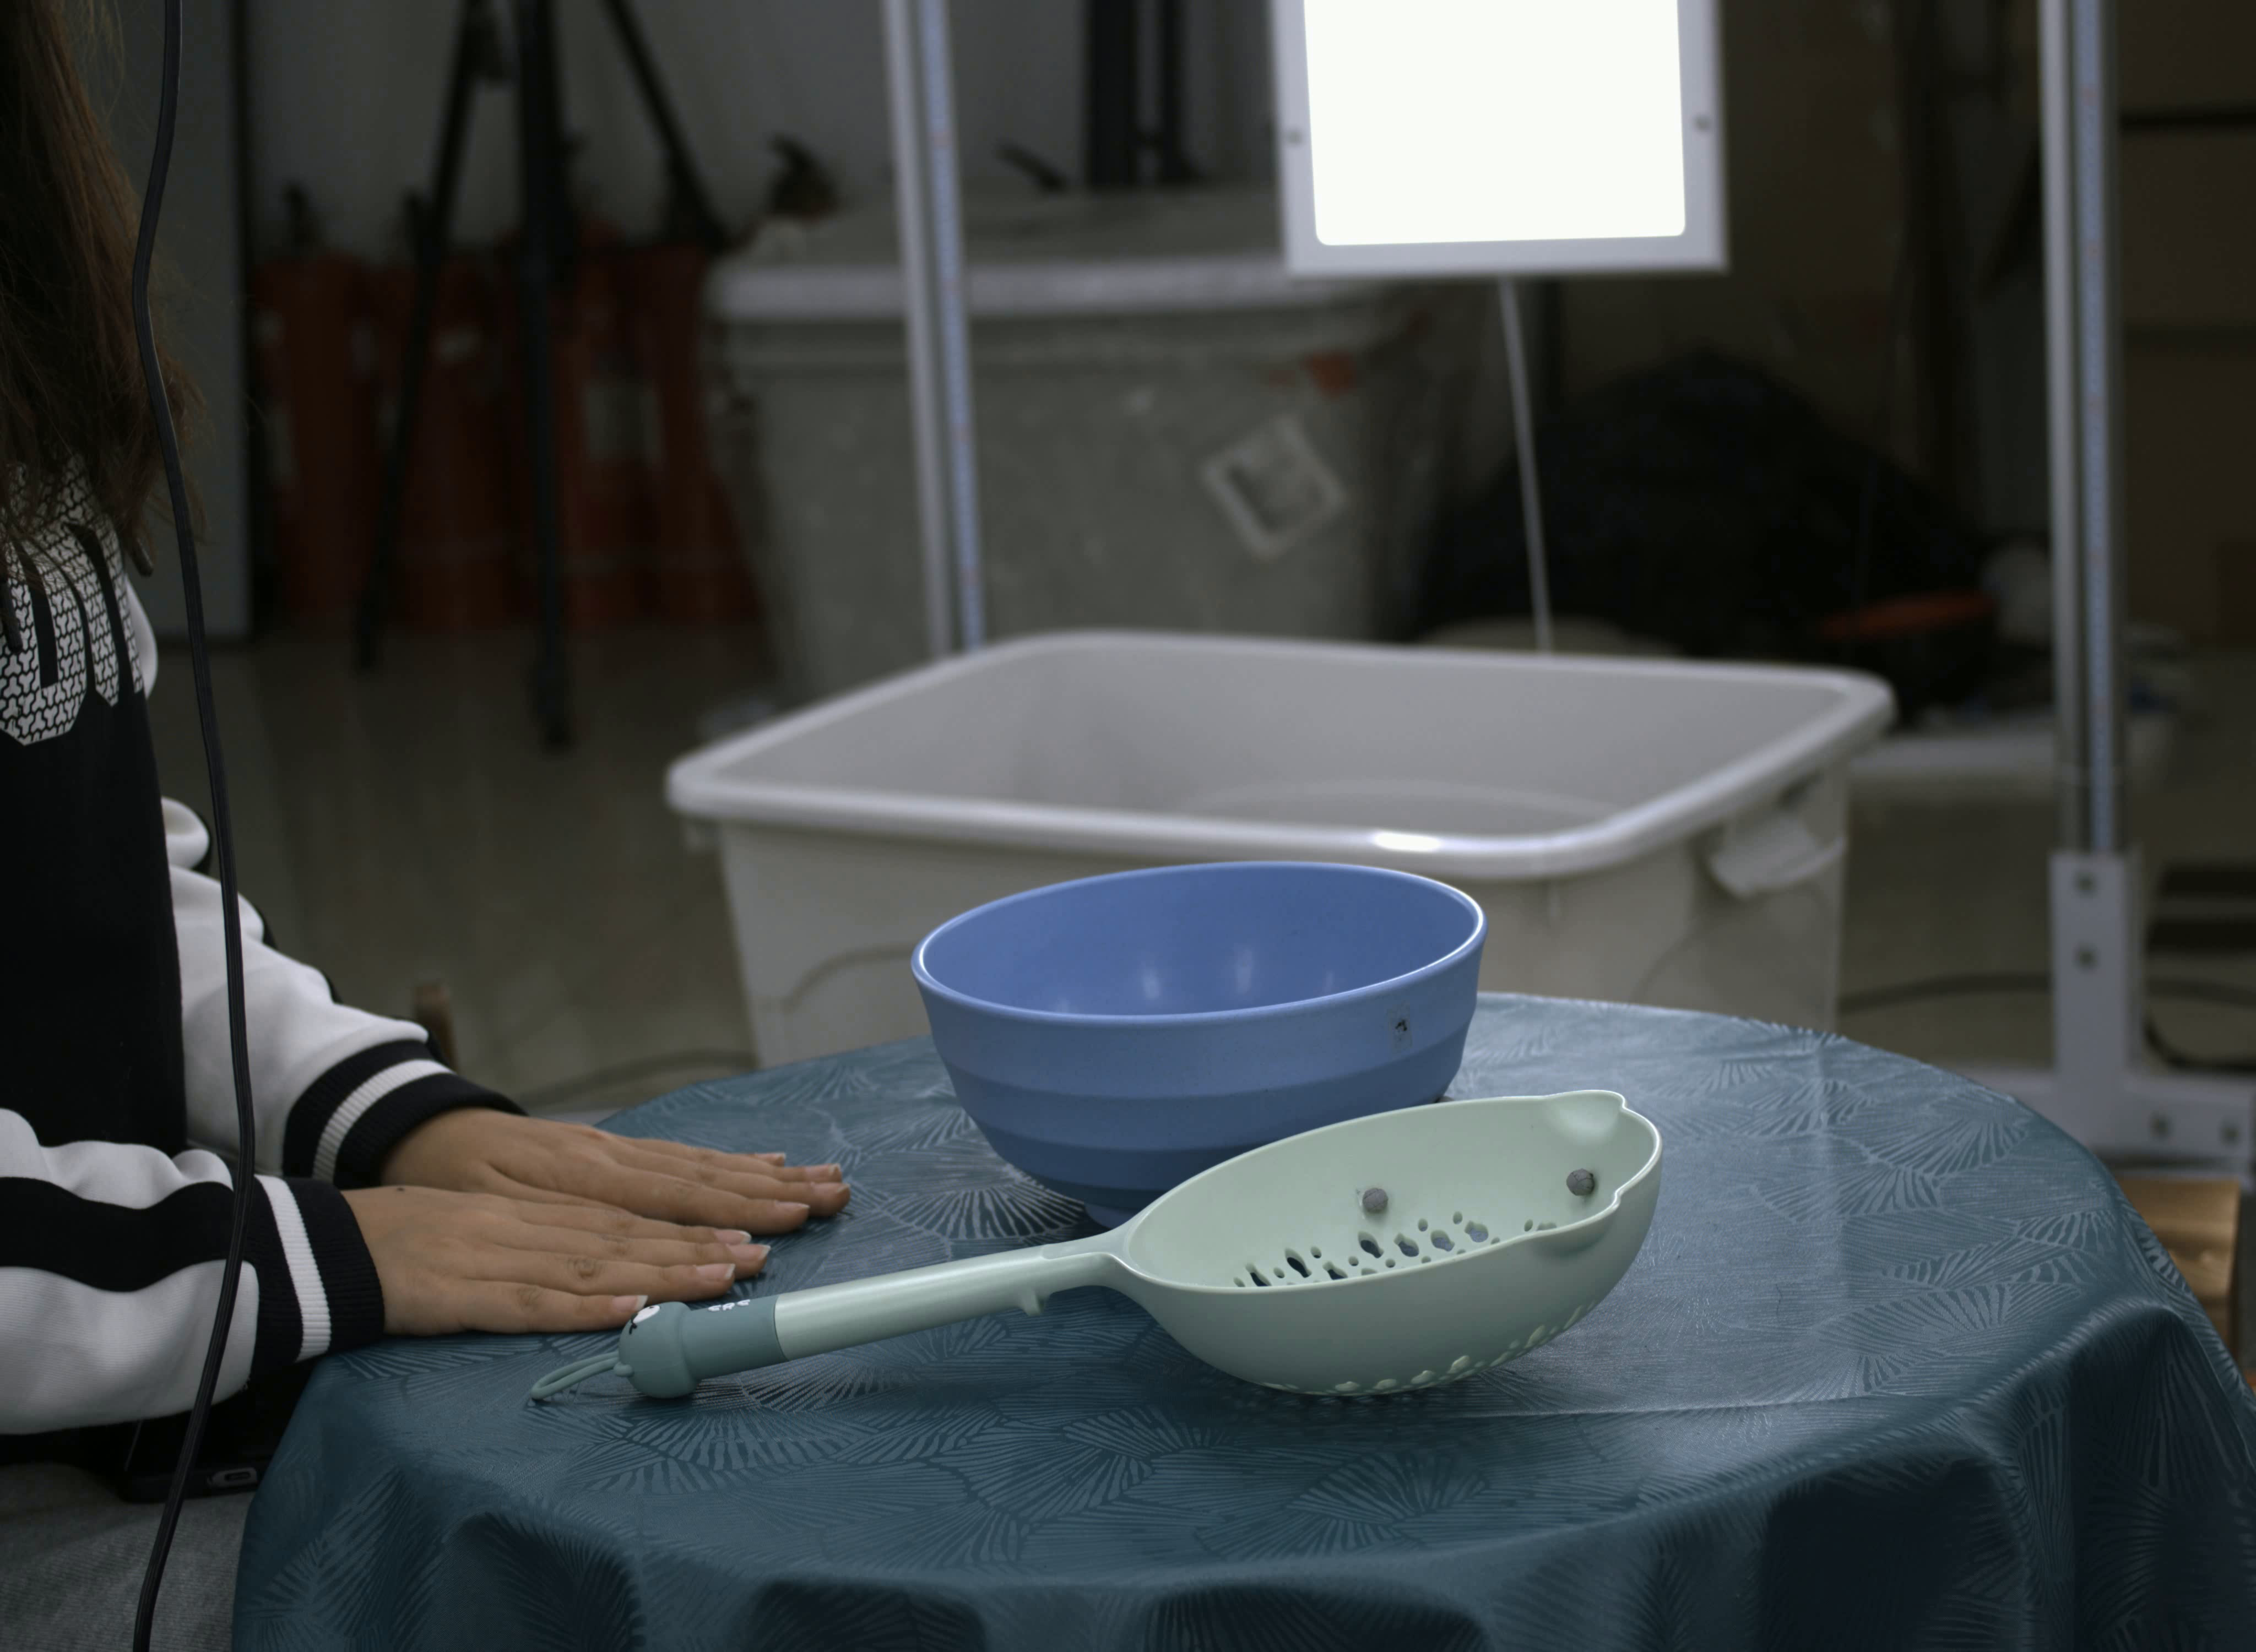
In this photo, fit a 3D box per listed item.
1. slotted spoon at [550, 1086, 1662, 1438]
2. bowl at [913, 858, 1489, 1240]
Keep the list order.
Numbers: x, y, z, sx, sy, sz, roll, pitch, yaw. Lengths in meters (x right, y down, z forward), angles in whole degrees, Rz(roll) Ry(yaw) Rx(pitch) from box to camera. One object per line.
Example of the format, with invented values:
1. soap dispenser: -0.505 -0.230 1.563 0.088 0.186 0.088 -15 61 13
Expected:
1. slotted spoon: -0.010 0.144 1.710 0.361 0.075 0.168 -4 13 10
2. bowl: 0.028 0.082 1.871 0.196 0.096 0.196 -5 14 0
